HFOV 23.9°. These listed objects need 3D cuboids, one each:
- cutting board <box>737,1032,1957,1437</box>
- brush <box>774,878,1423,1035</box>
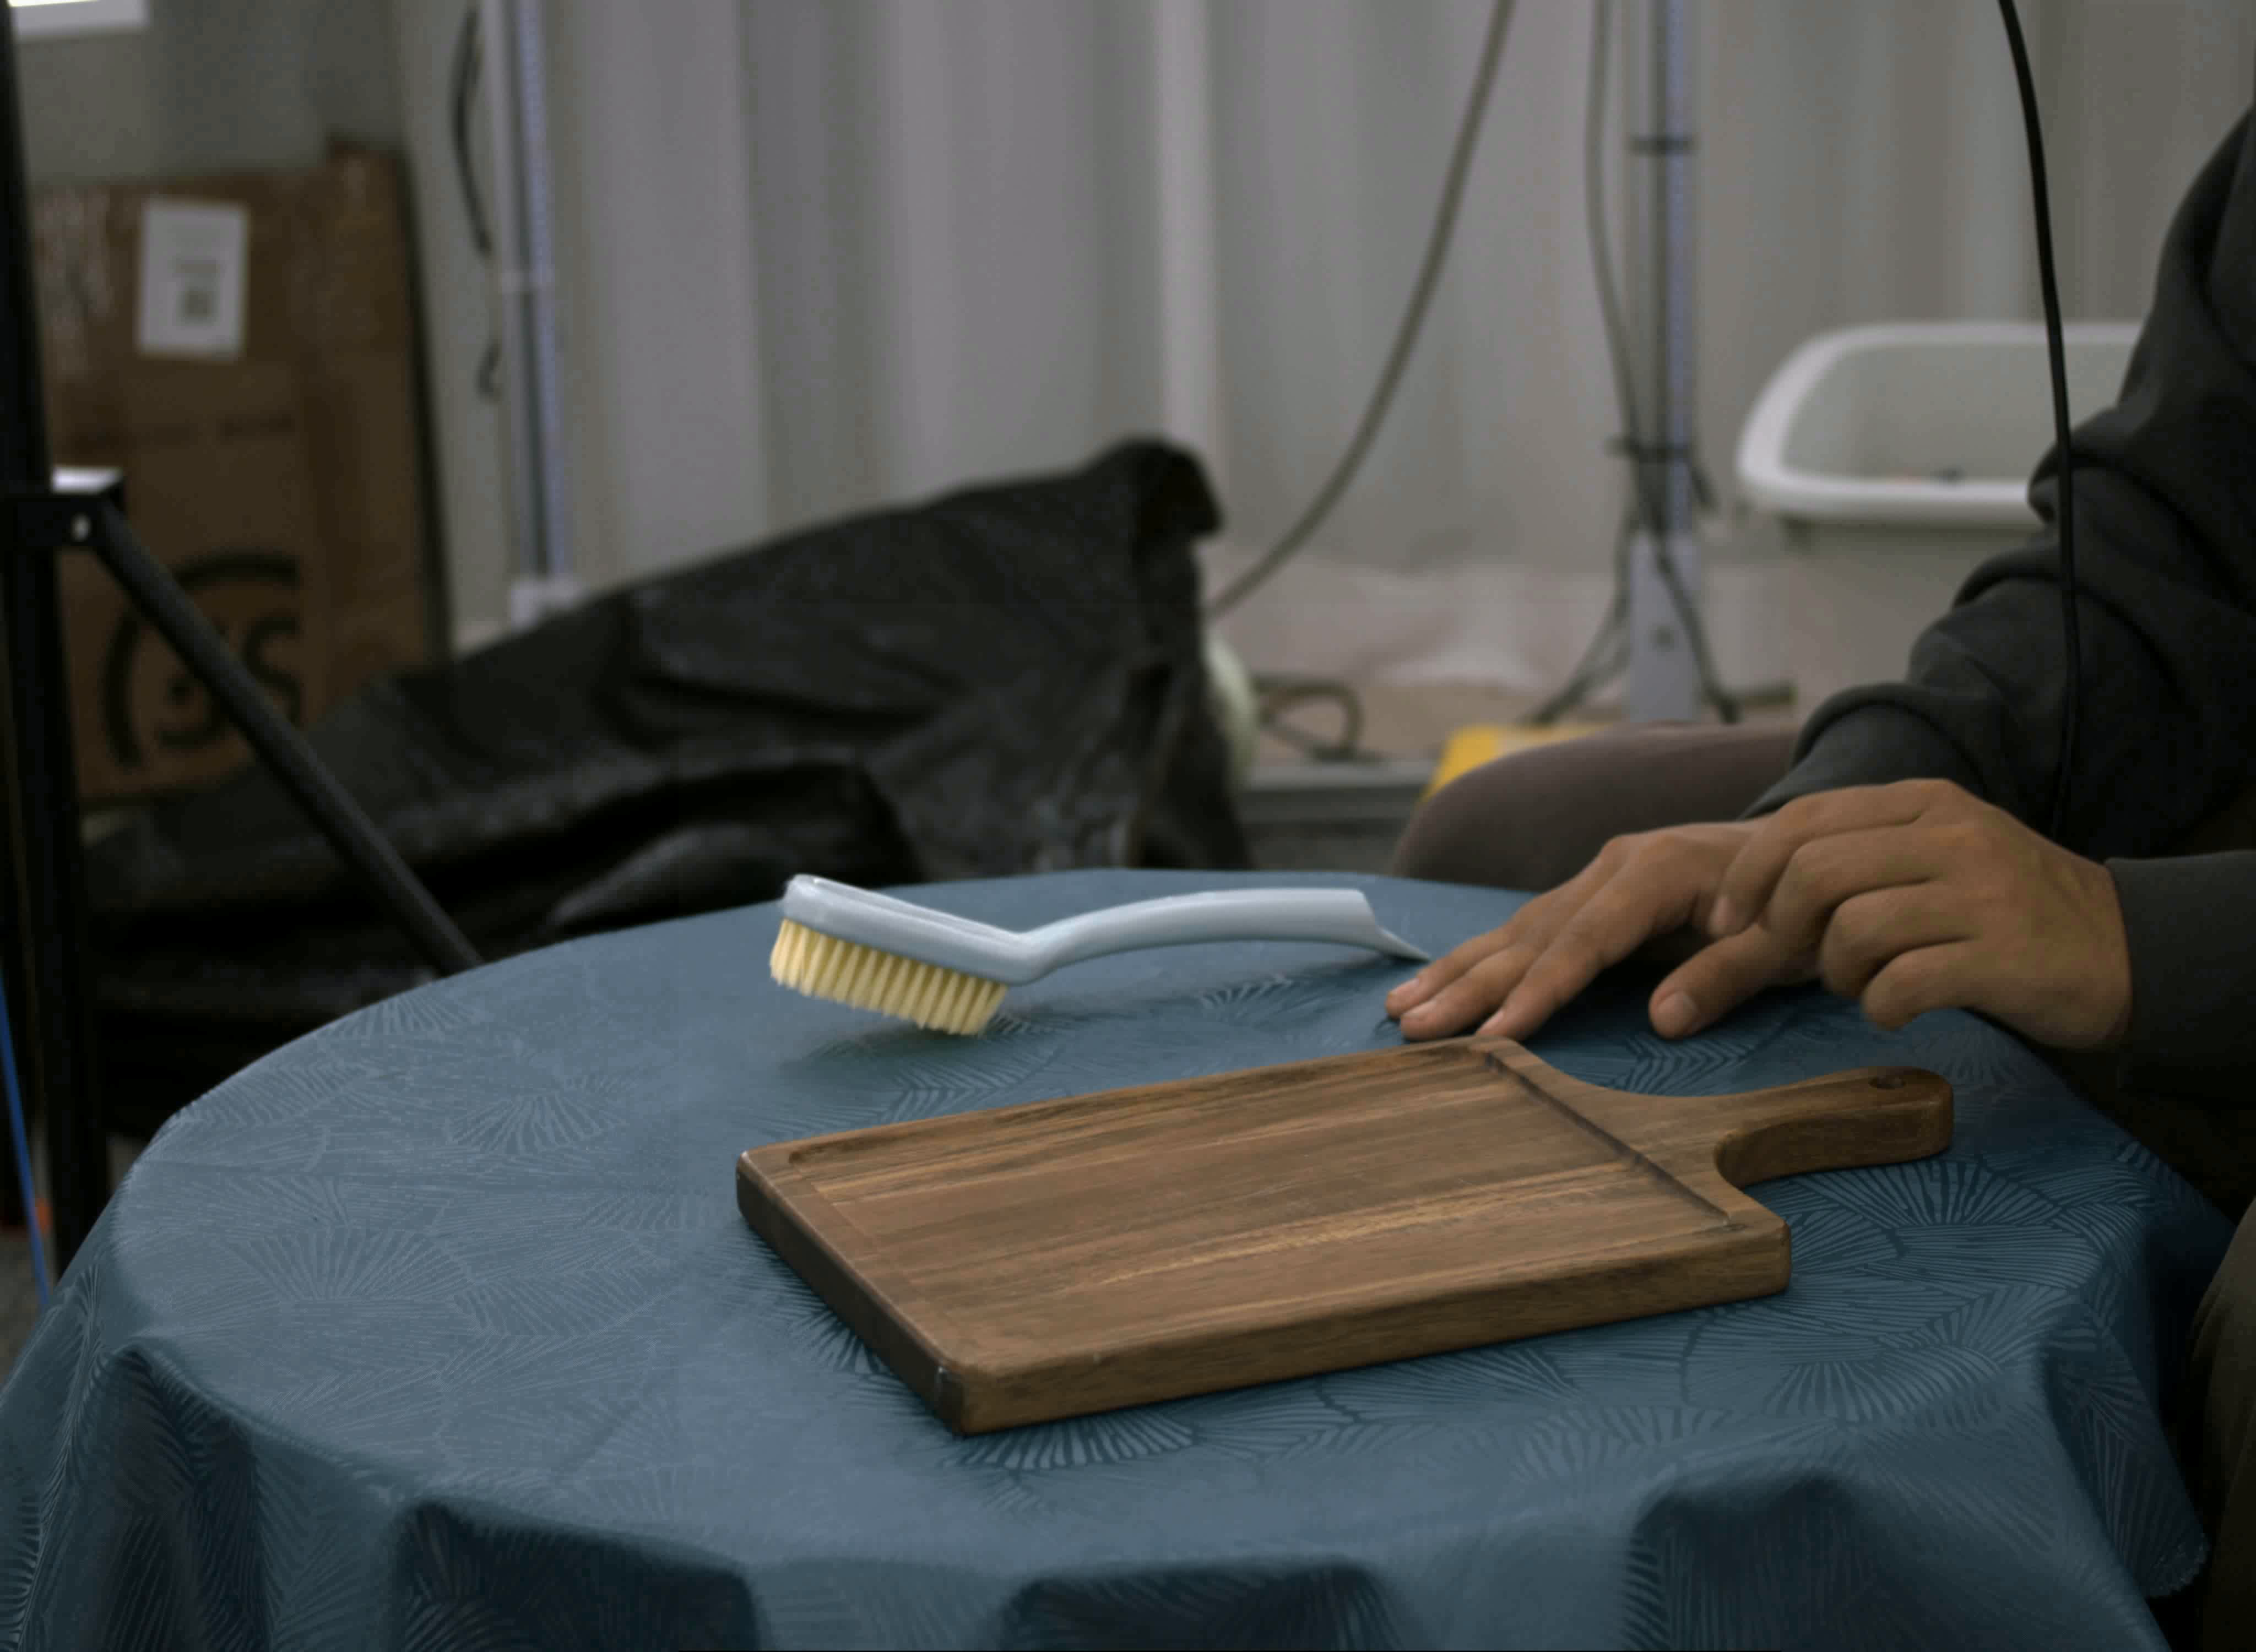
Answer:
[{"bbox_3d":[0.082,0.105,1.516,0.346,0.023,0.204,-8,17,-18],"label":"cutting board"},{"bbox_3d":[-0.008,0.044,1.730,0.224,0.050,0.038,1,15,-23],"label":"brush"}]
